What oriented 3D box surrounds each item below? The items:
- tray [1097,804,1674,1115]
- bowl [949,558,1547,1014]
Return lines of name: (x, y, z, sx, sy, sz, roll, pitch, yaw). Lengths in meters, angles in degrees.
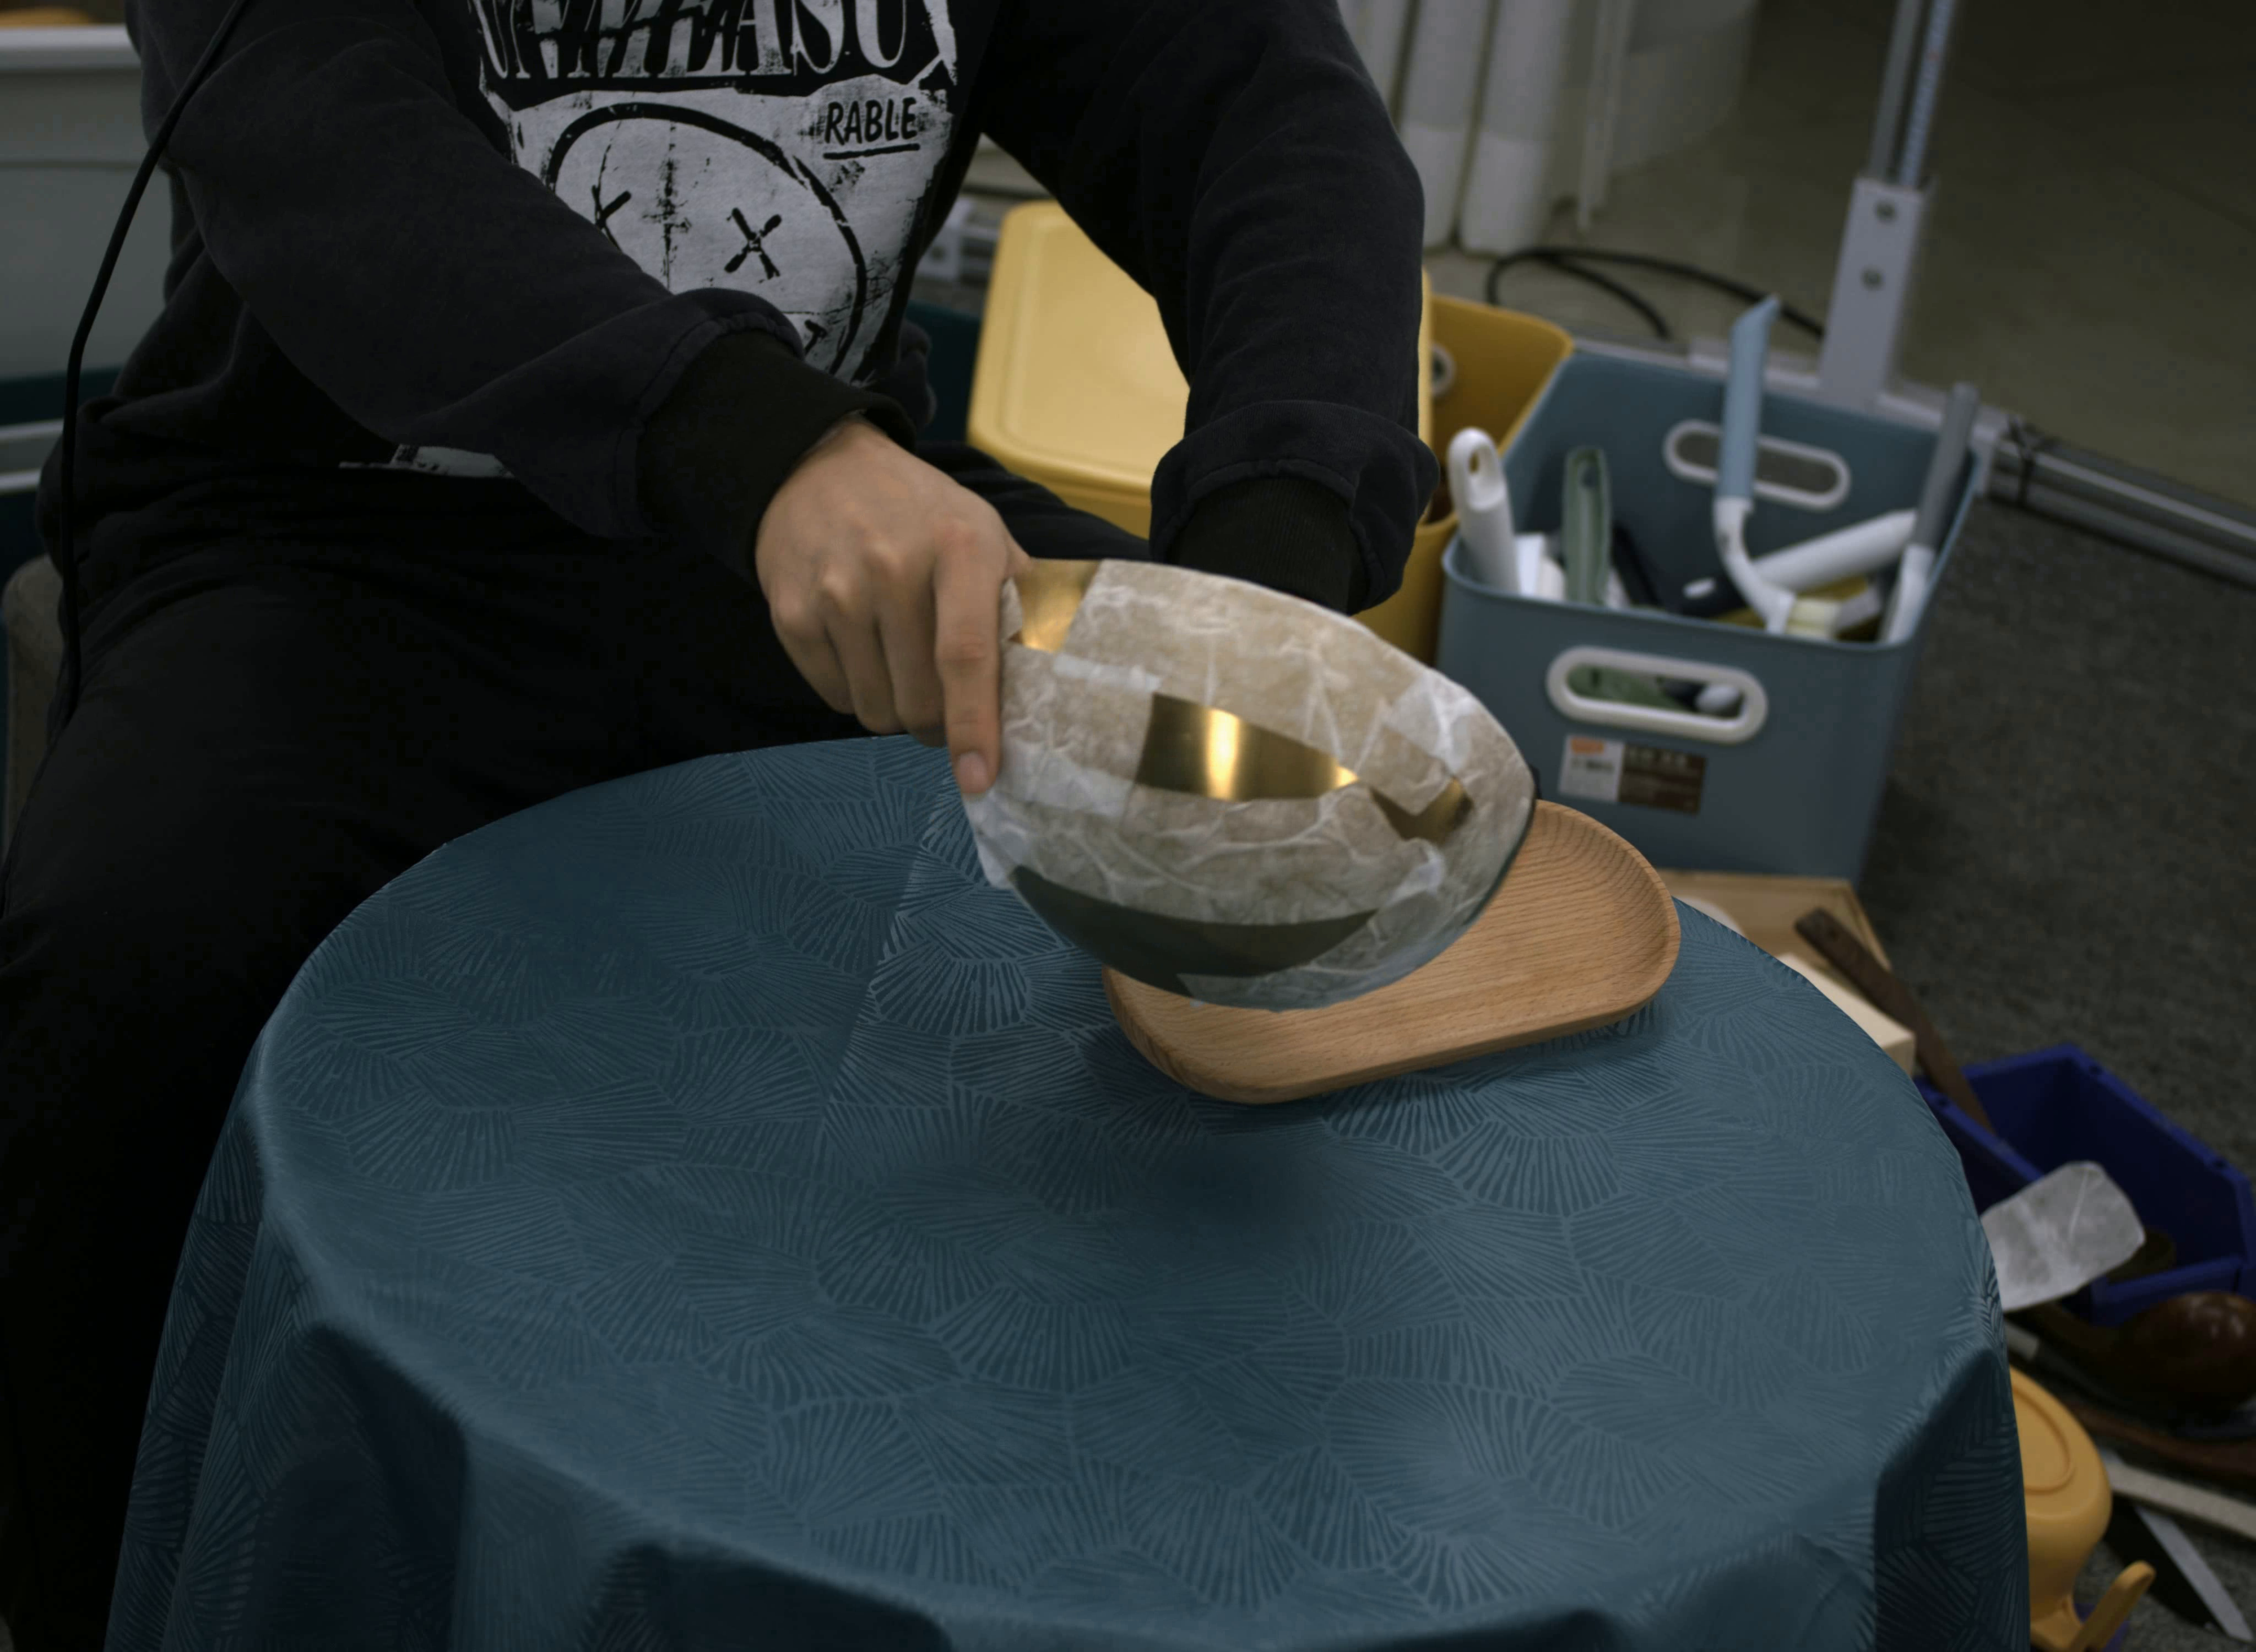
tray: (0.094, 0.048, 1.914, 0.230, 0.020, 0.102, -13, 54, -27)
bowl: (0.027, 0.004, 1.755, 0.215, 0.213, 0.095, 15, 67, 15)
